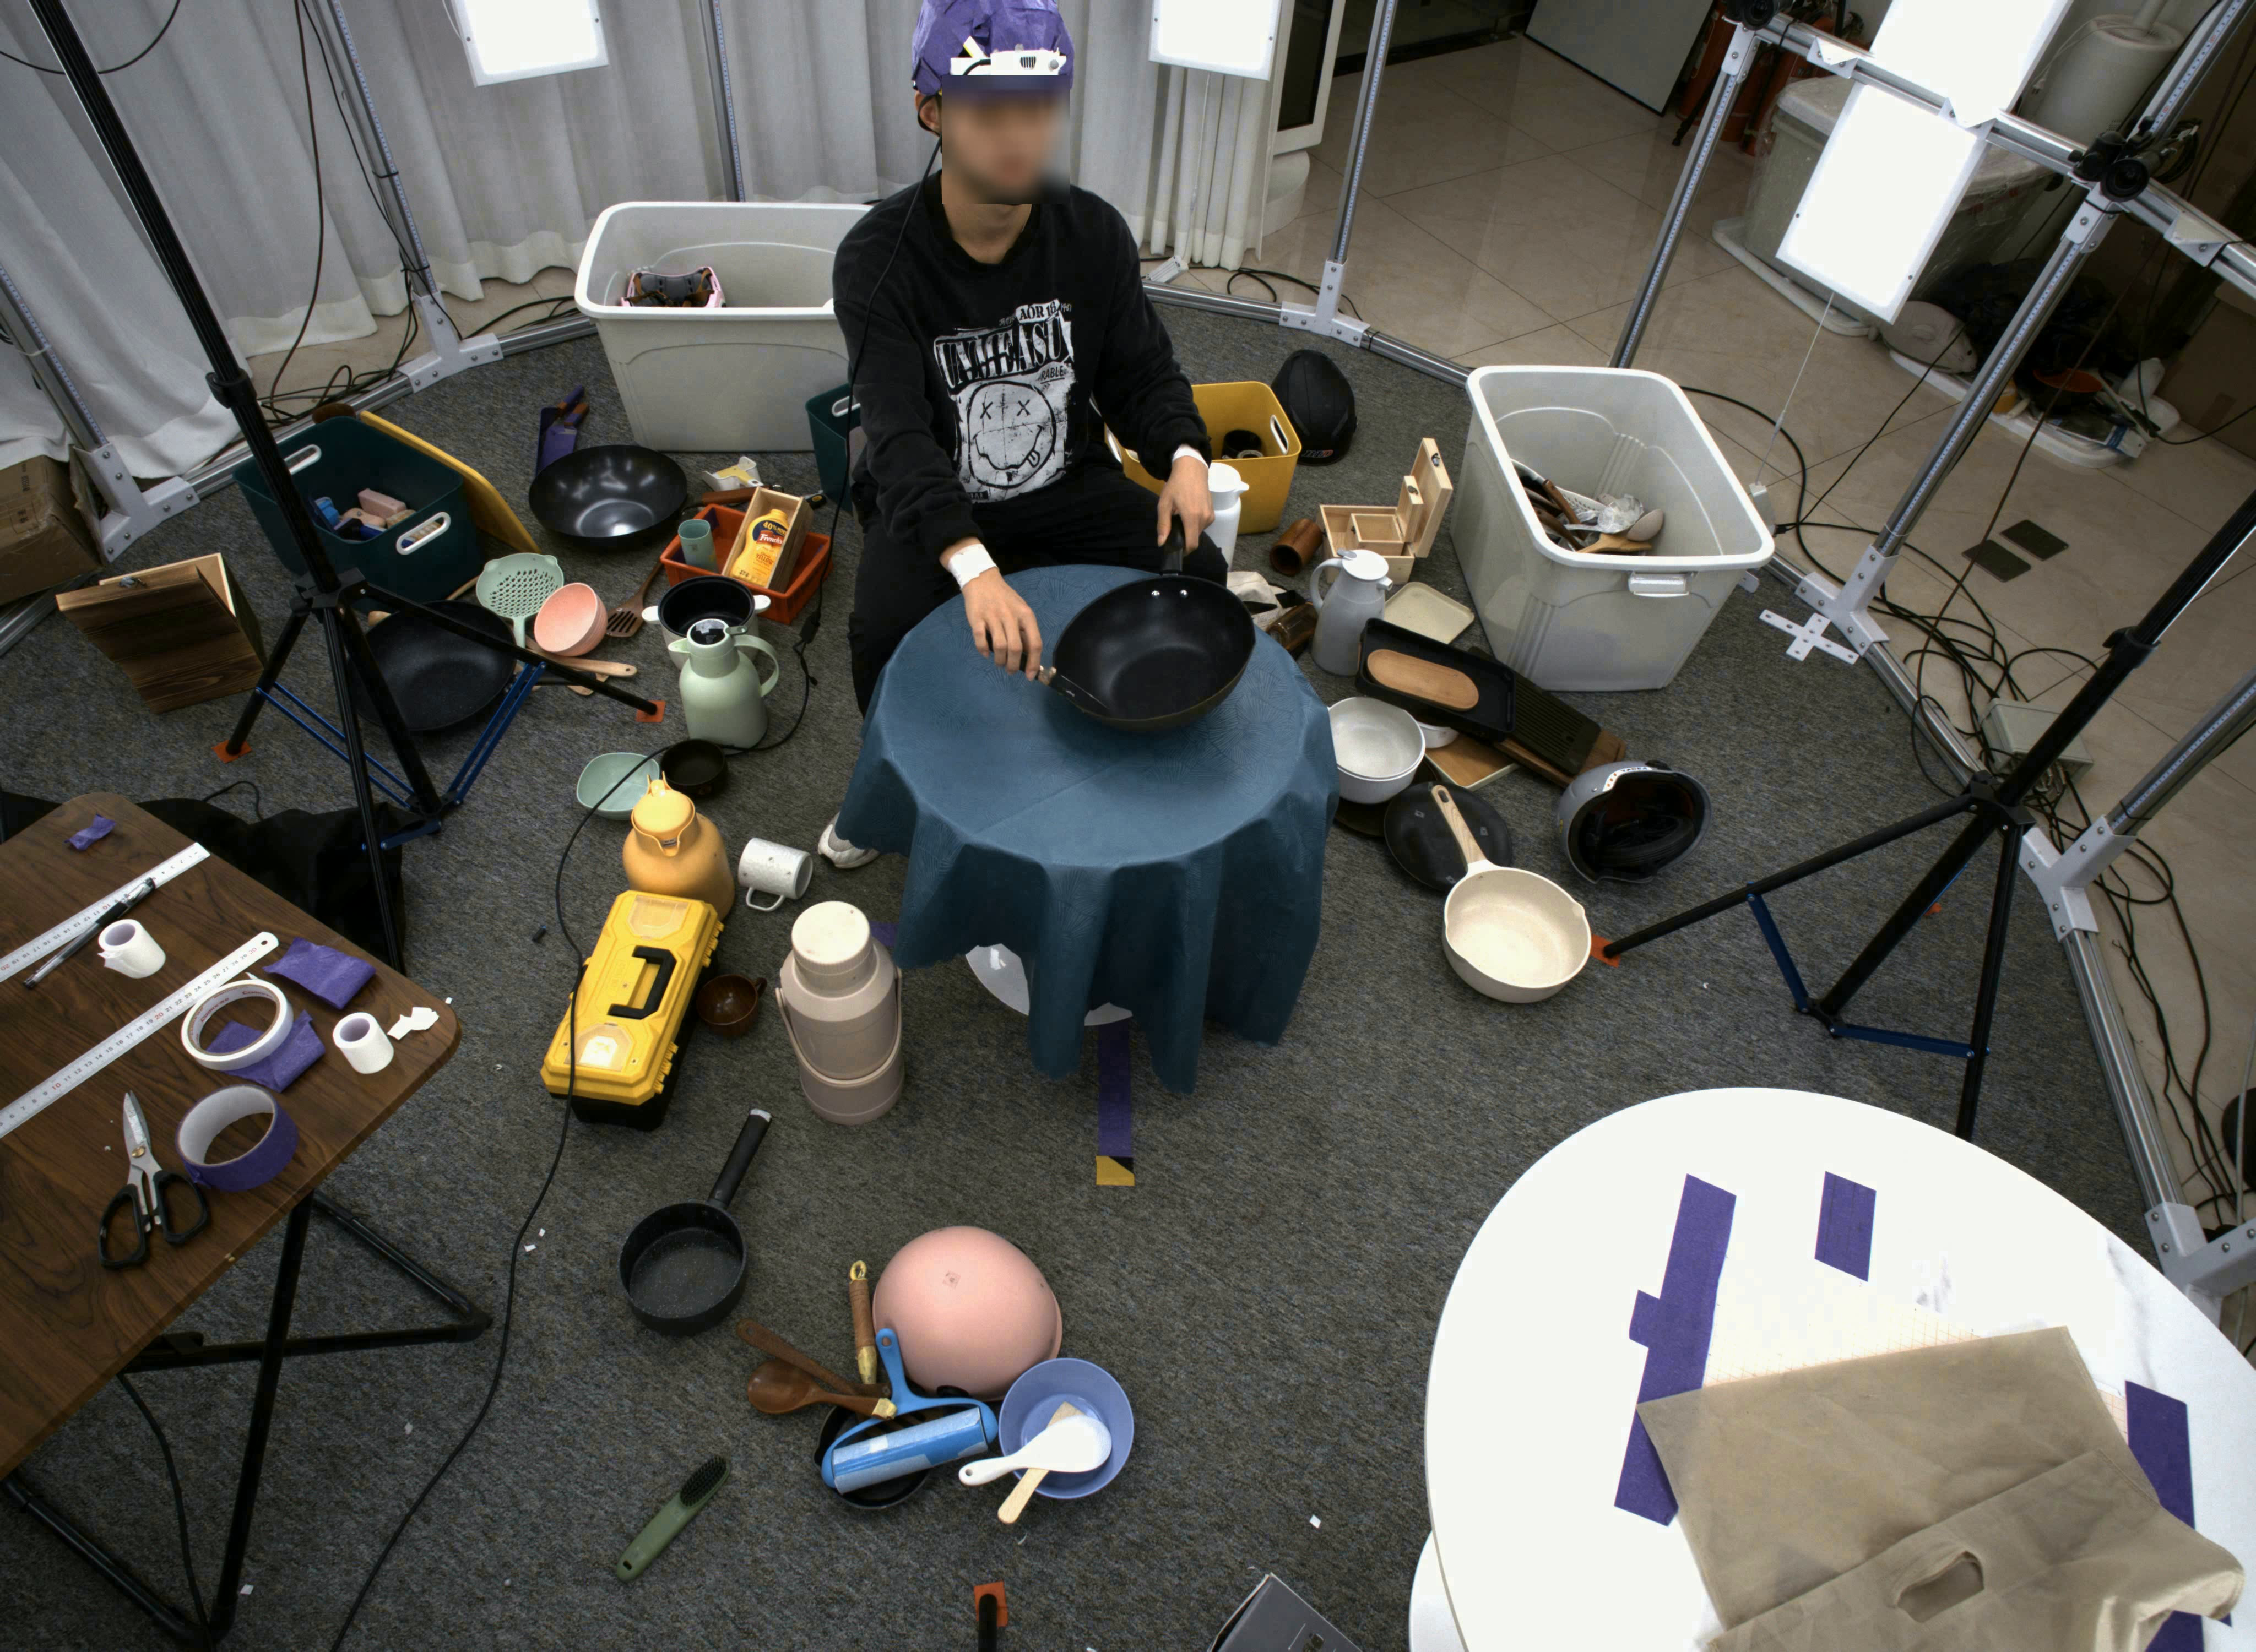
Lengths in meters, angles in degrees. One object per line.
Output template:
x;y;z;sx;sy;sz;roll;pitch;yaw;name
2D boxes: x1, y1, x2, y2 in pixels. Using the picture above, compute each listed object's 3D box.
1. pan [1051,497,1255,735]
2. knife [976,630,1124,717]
0.056;-0.295;1.845;0.288;0.085;0.474;0;51;16;pan
-0.101;-0.197;1.700;0.223;0.017;0.026;30;74;-18;knife
